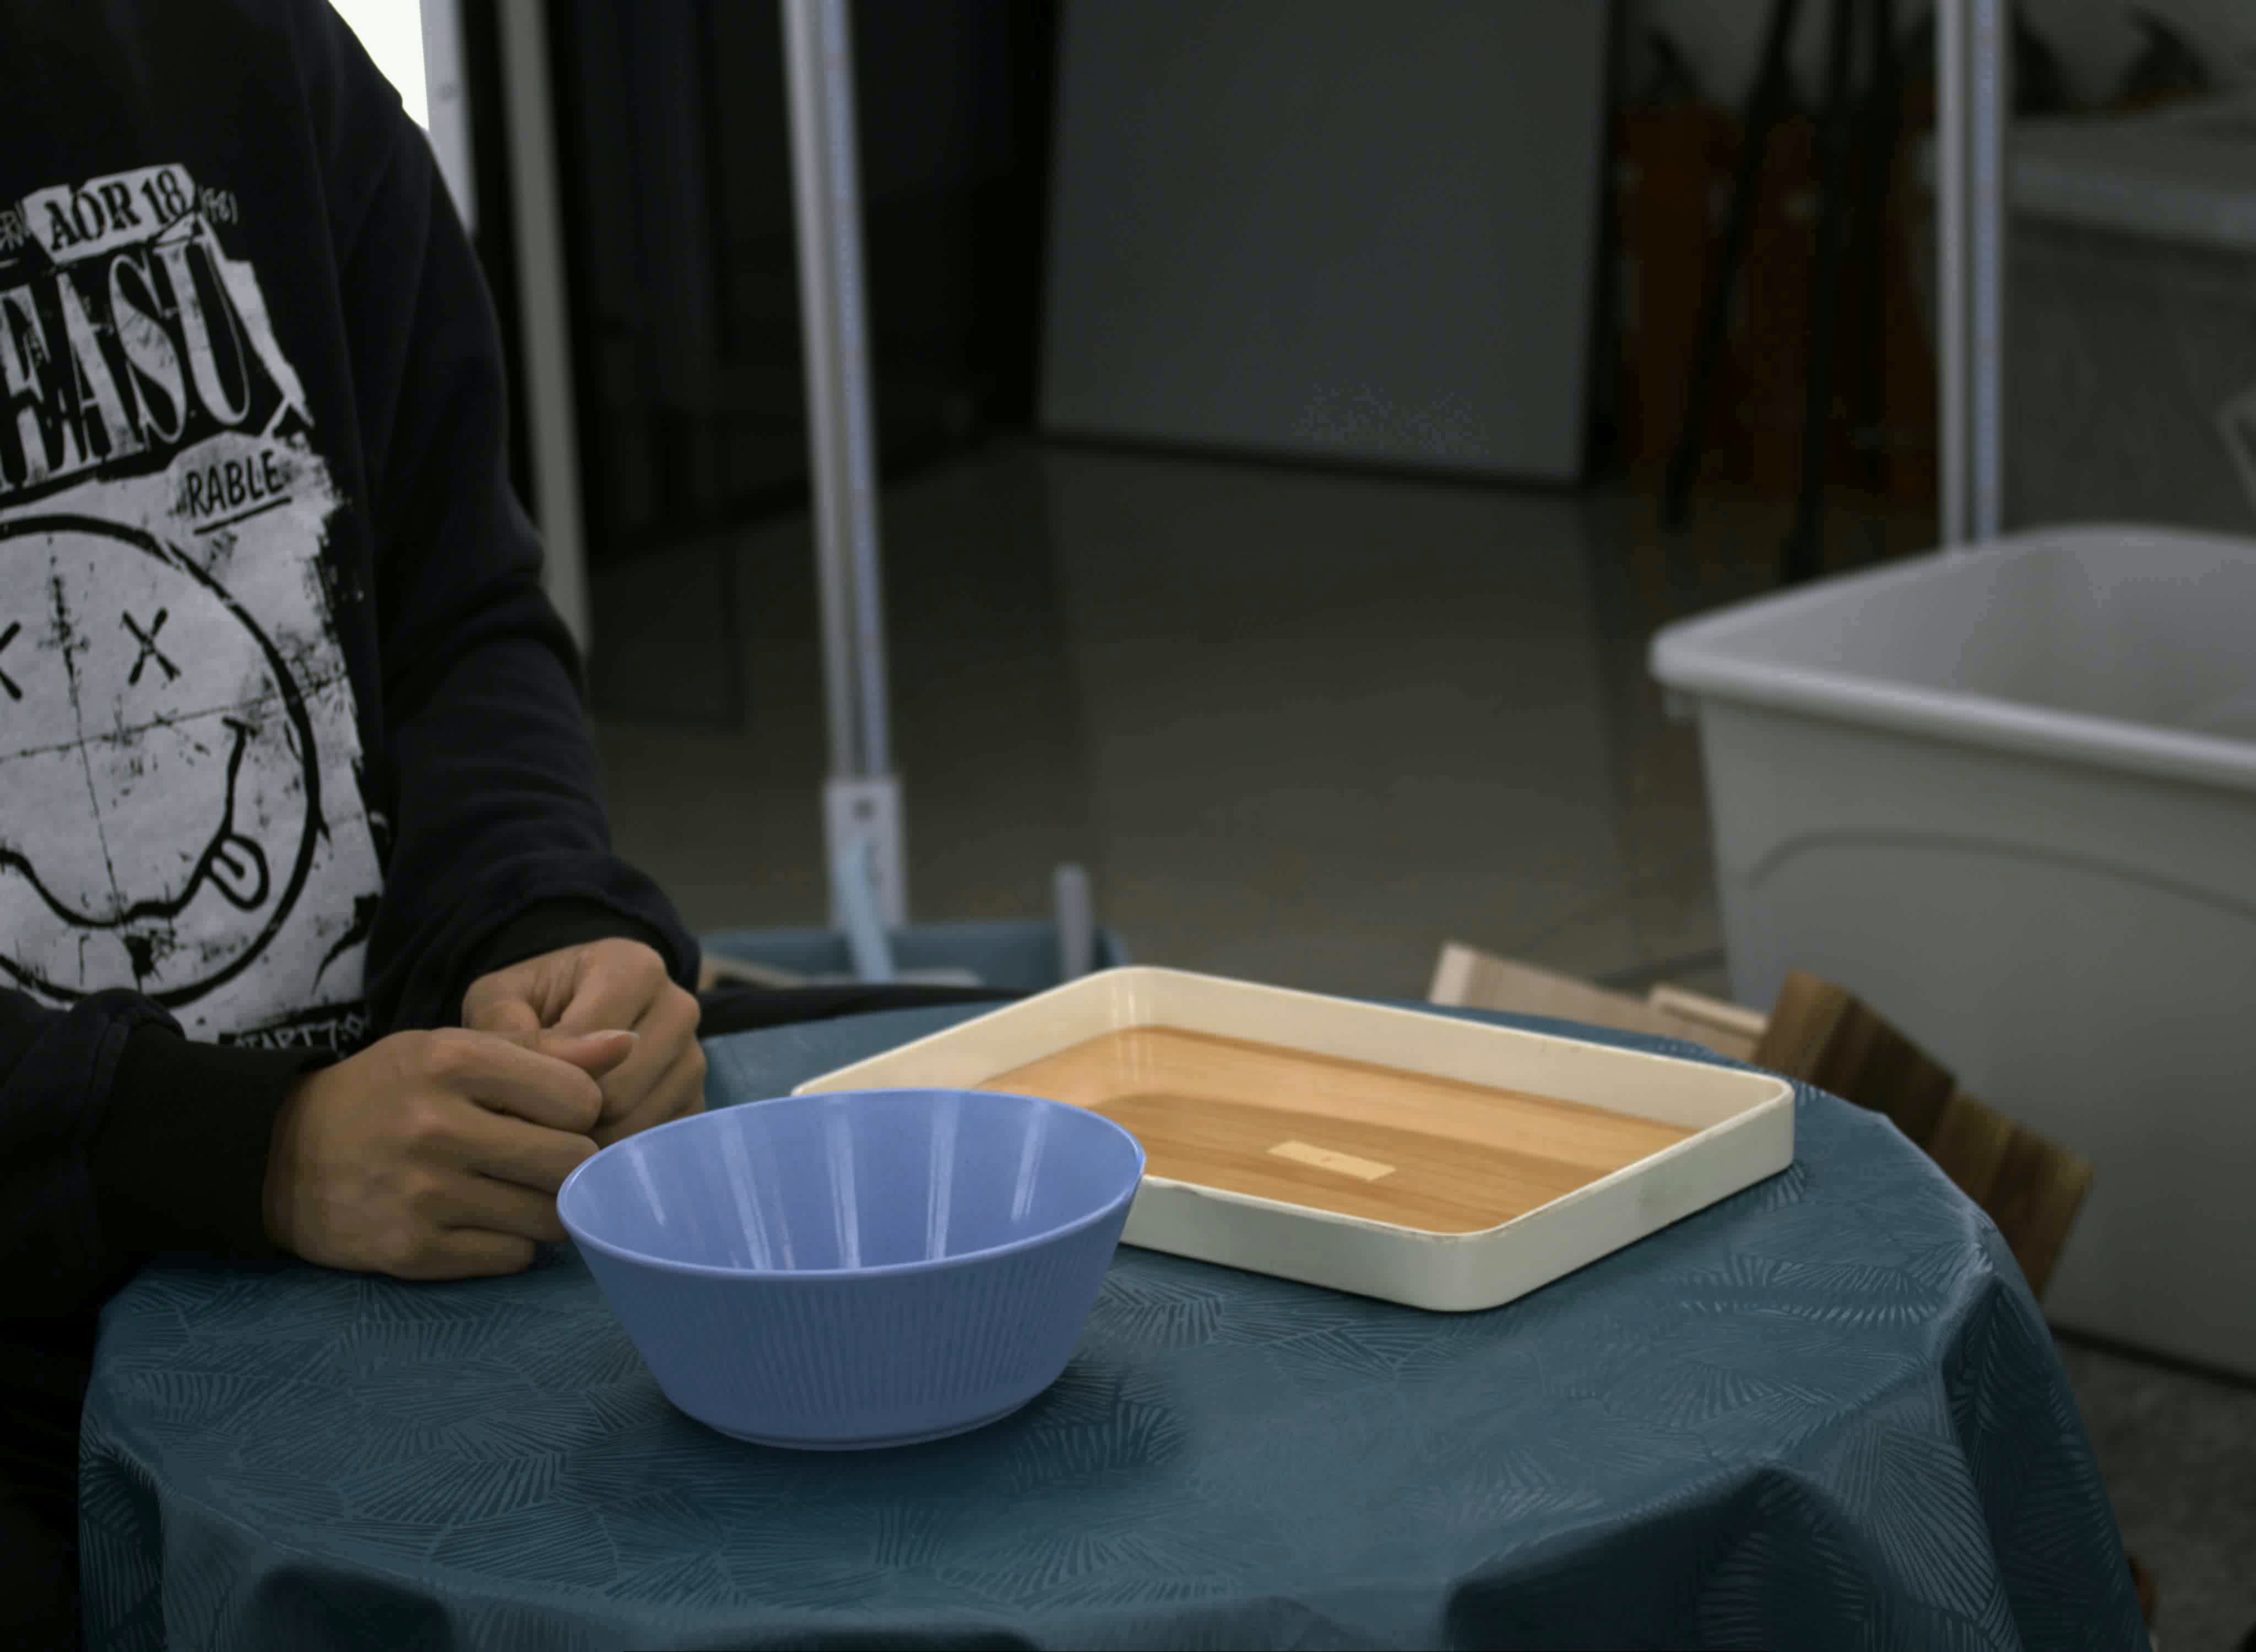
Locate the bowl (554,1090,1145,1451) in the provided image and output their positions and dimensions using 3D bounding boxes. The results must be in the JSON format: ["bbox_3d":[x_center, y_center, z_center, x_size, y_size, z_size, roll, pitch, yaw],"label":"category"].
[{"bbox_3d":[-0.080,0.134,1.595,0.174,0.071,0.176,-3,14,0],"label":"bowl"}]

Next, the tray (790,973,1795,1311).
[{"bbox_3d":[0.052,0.101,1.784,0.303,0.028,0.188,8,18,41],"label":"tray"}]
